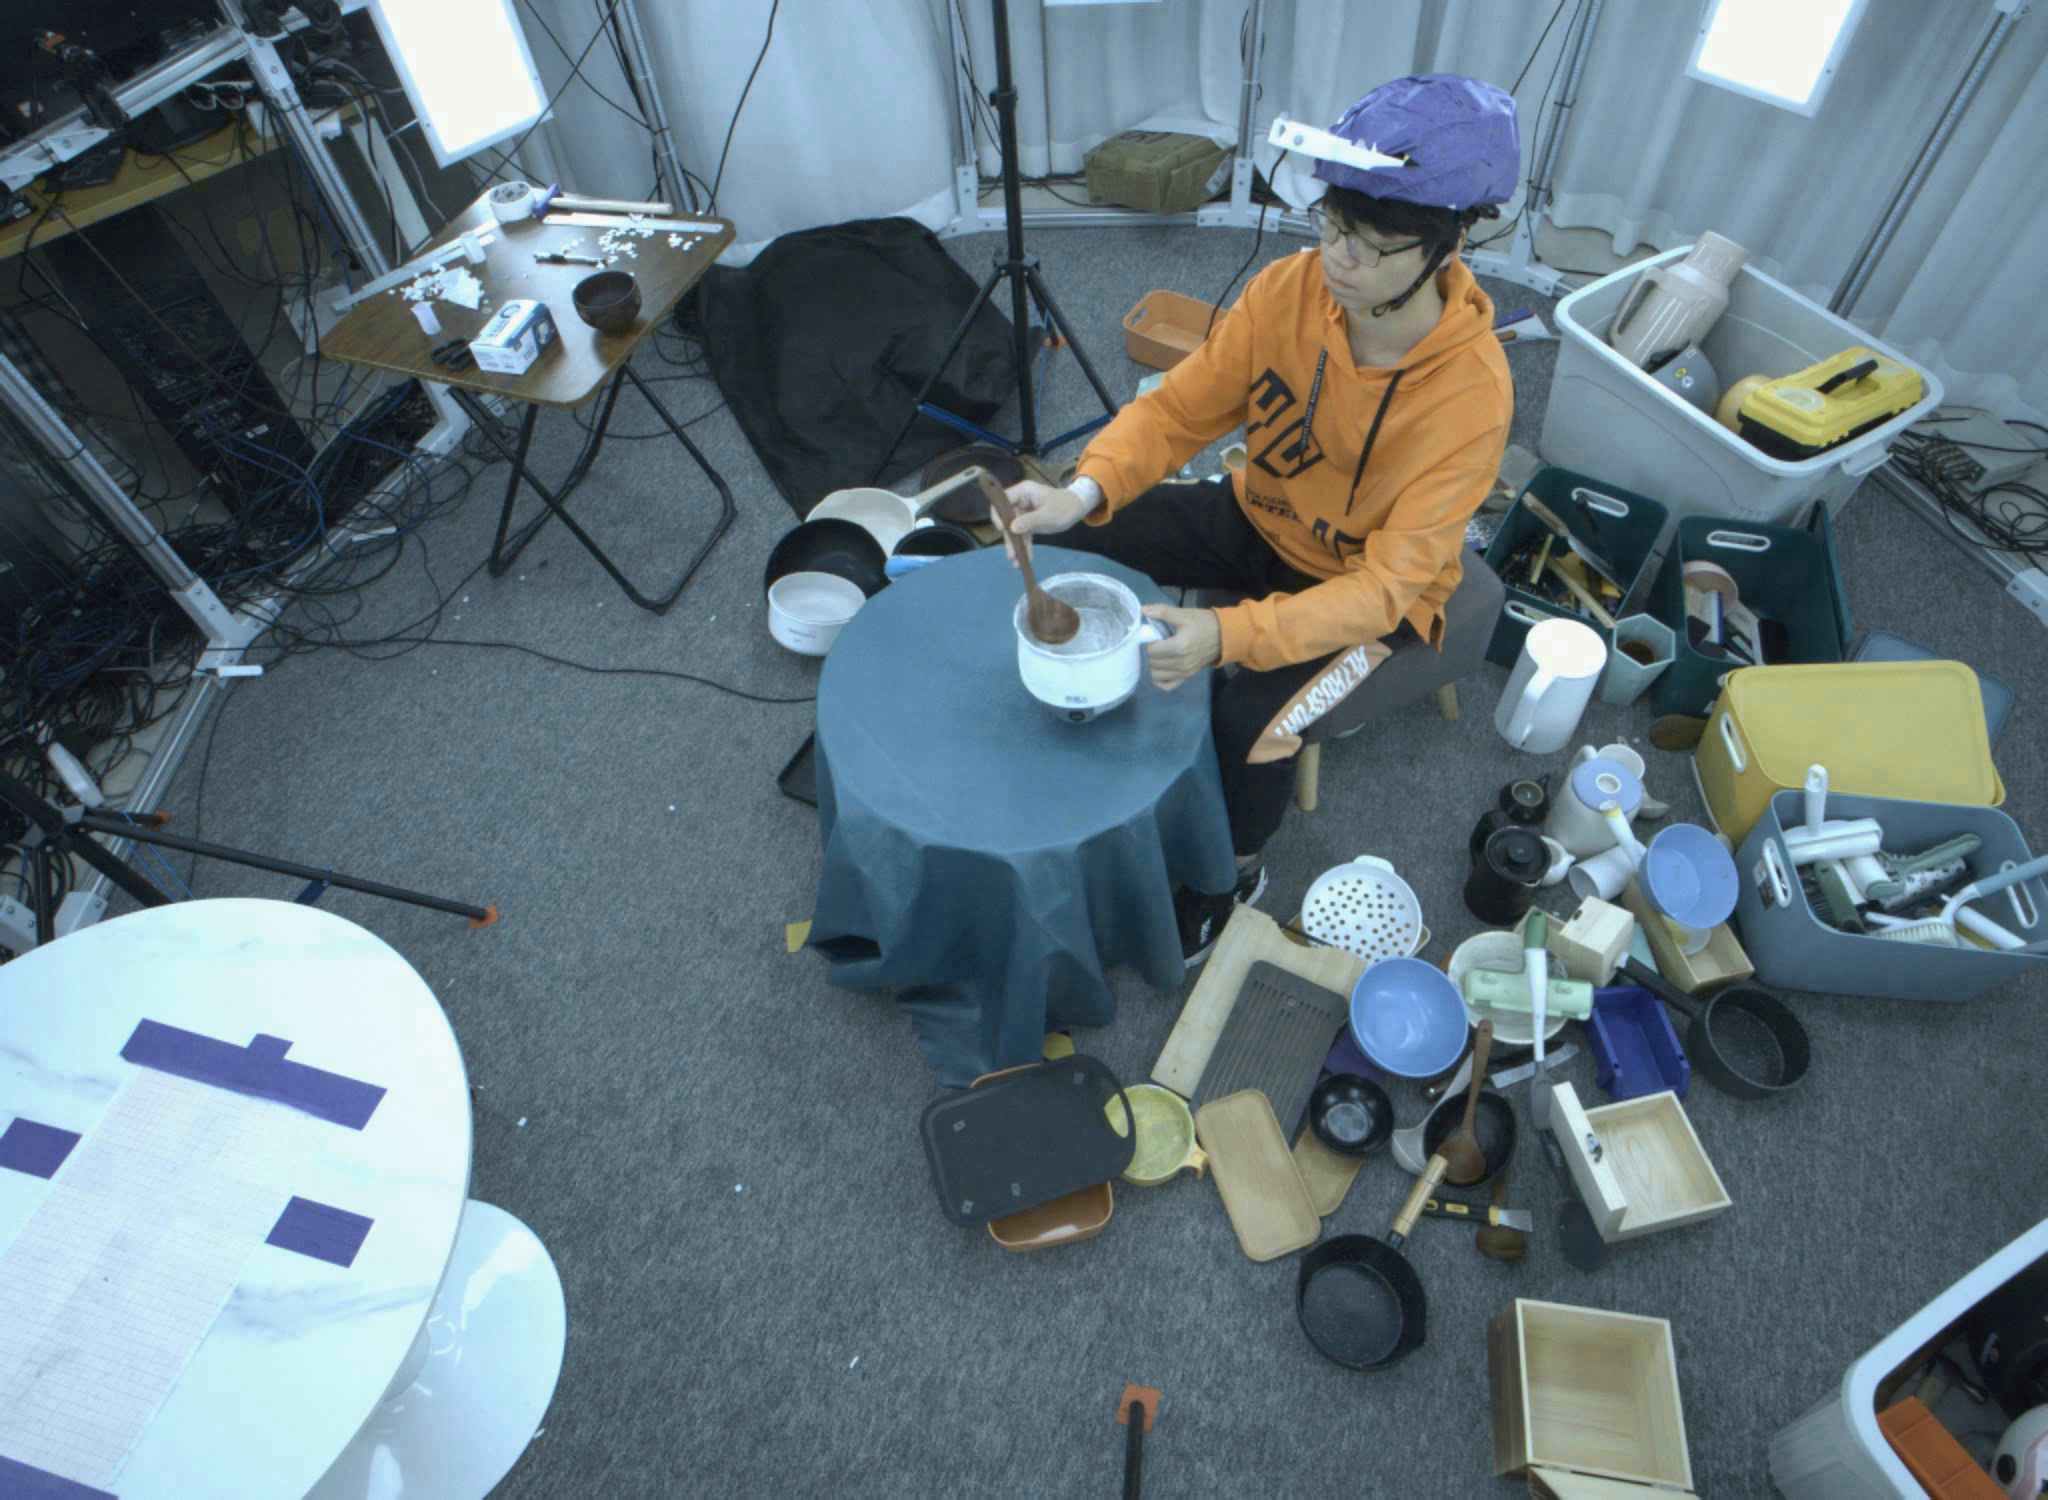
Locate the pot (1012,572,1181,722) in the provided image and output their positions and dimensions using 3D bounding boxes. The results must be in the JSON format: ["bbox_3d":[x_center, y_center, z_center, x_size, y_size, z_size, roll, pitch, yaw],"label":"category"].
[{"bbox_3d":[0.105,-0.146,1.743,0.233,0.138,0.177,0,50,5],"label":"pot"}]

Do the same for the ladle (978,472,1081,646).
[{"bbox_3d":[0.003,-0.265,1.675,0.077,0.064,0.261,-28,101,-31],"label":"ladle"}]
